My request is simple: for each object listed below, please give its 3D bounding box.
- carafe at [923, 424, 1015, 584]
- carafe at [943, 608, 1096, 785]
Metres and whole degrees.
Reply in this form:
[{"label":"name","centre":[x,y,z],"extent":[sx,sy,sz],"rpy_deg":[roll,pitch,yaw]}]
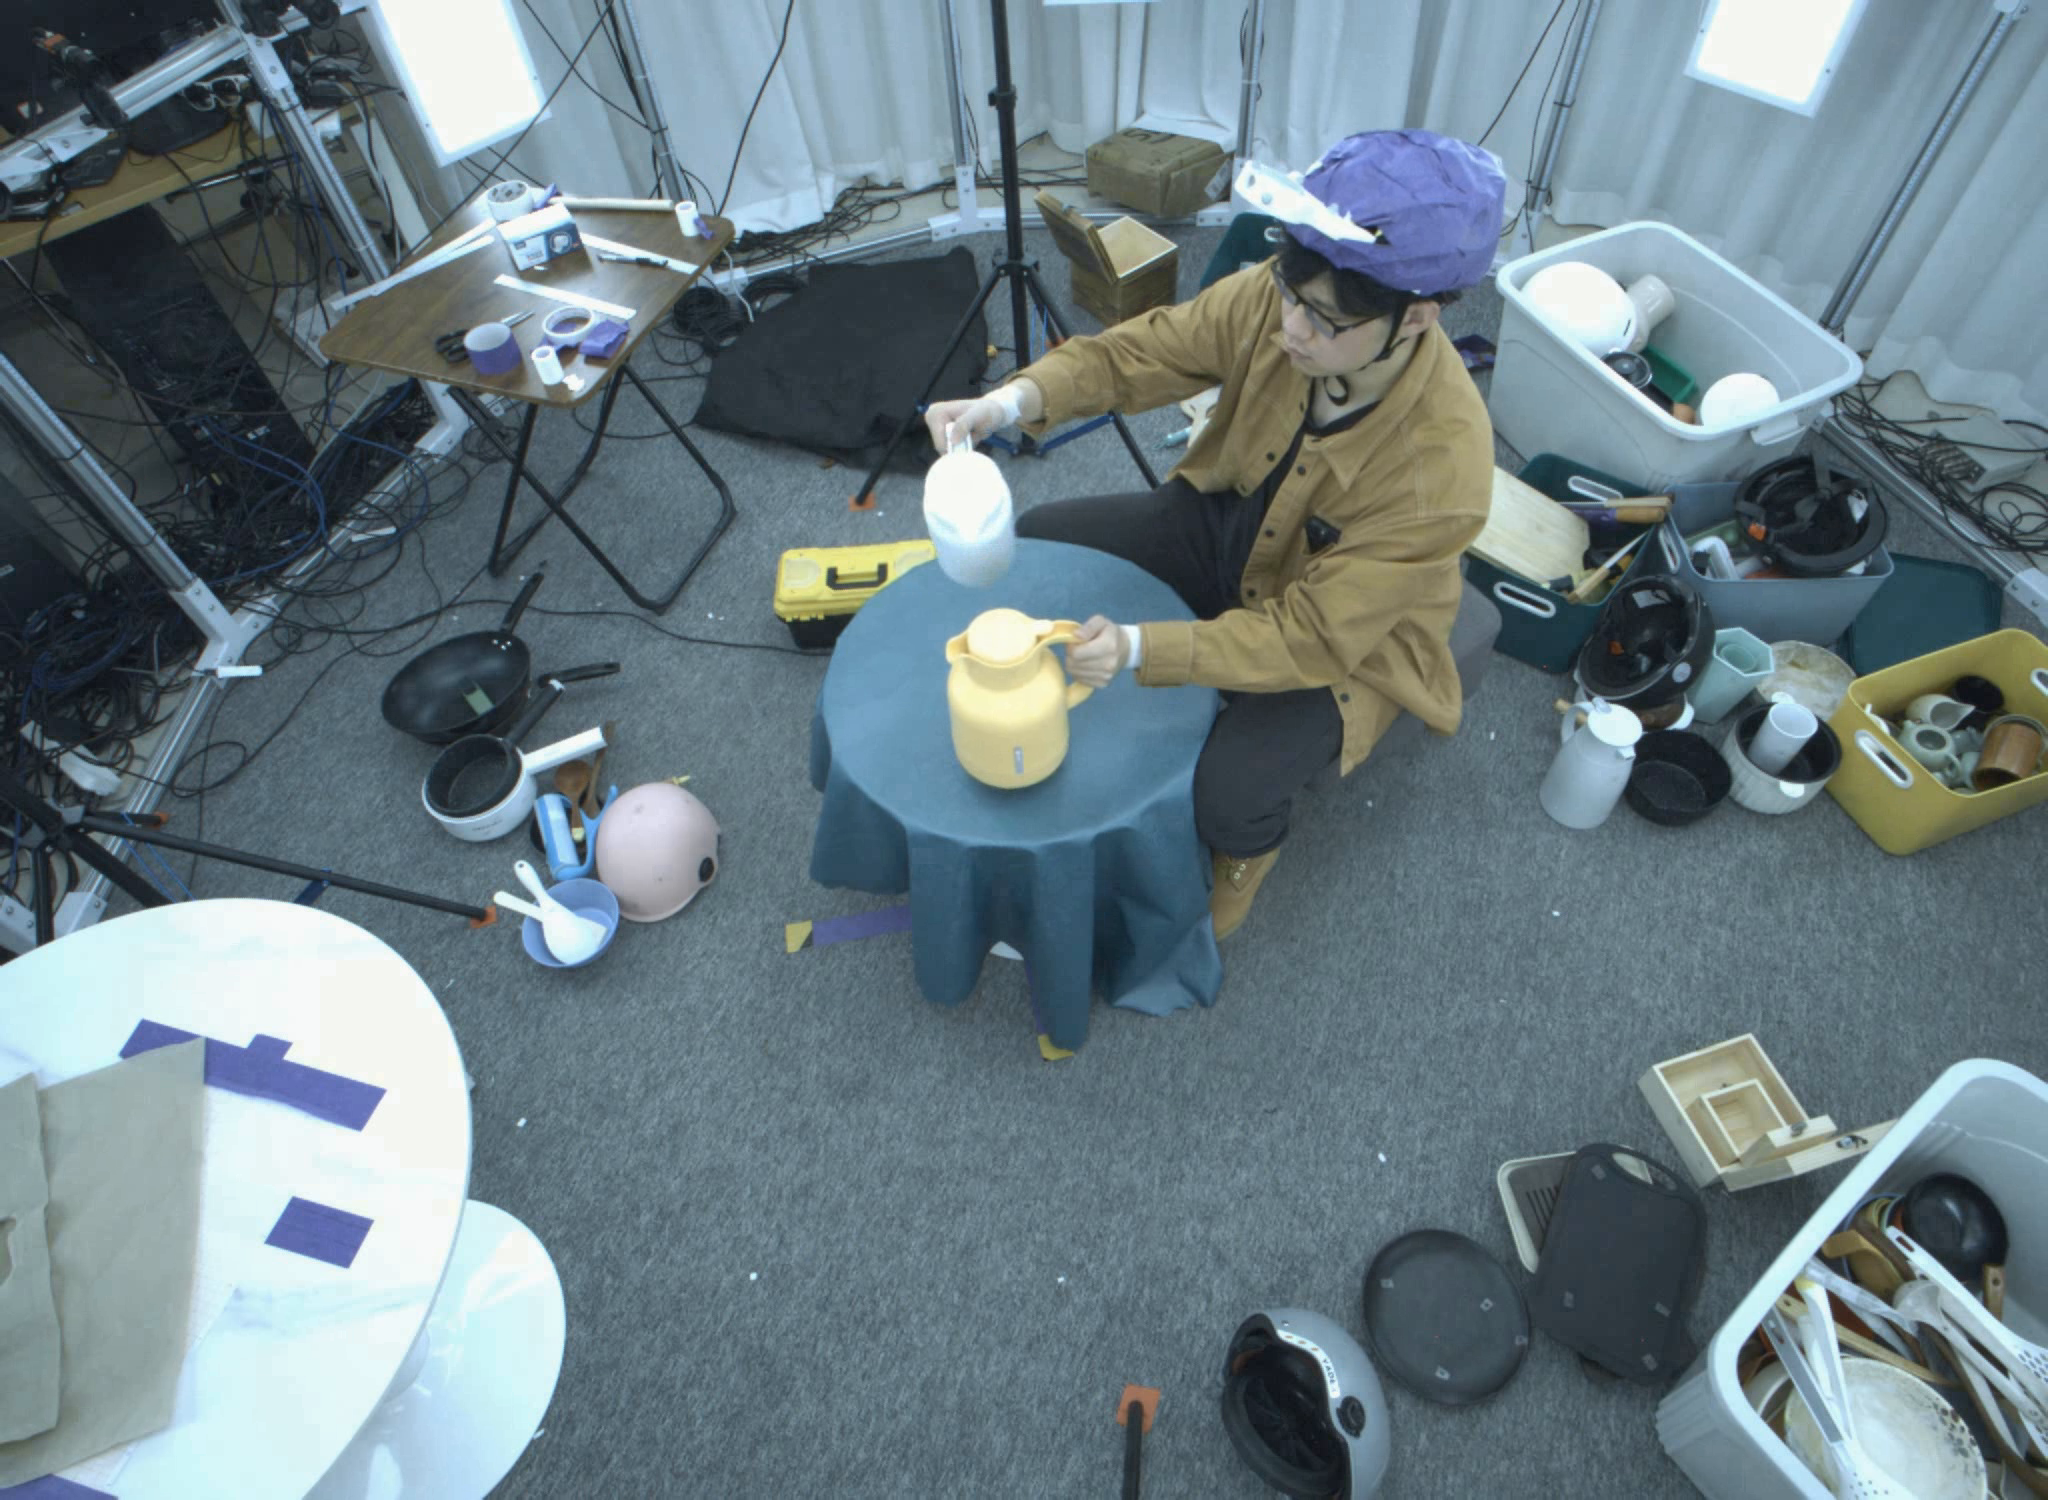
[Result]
[{"label":"carafe","centre":[-0.078,-0.330,1.660],"extent":[0.124,0.270,0.172],"rpy_deg":[-9,83,1]},{"label":"carafe","centre":[-0.004,-0.080,1.651],"extent":[0.203,0.263,0.161],"rpy_deg":[-10,57,-2]}]
